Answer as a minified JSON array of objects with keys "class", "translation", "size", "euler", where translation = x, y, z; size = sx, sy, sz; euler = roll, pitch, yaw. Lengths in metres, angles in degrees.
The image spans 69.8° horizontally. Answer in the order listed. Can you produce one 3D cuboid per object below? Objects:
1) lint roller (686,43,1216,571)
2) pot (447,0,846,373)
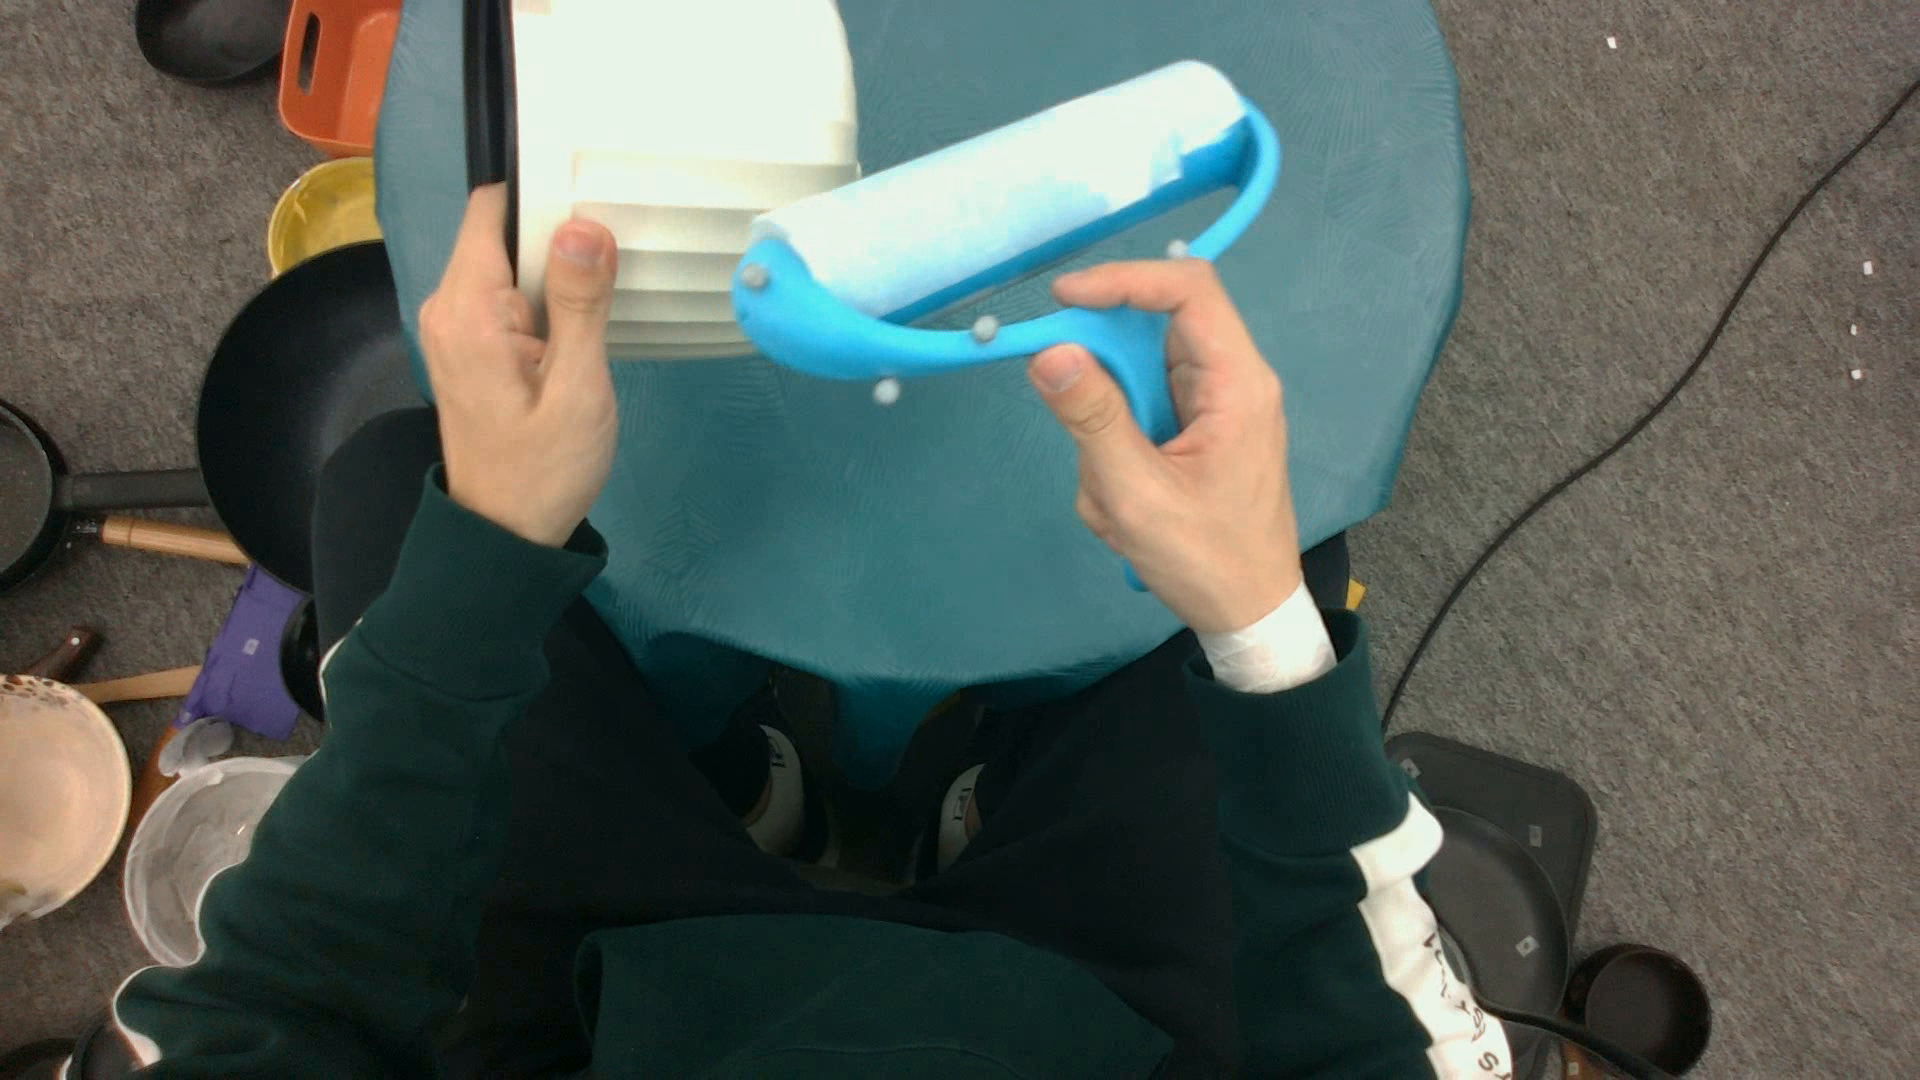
[{"class":"lint roller","translation":[0.033,-0.074,0.500],"size":[0.230,0.067,0.180],"euler":[-37,96,-32]},{"class":"pot","translation":[-0.133,-0.167,0.567],"size":[0.143,0.239,0.191],"euler":[-6,71,-26]}]
